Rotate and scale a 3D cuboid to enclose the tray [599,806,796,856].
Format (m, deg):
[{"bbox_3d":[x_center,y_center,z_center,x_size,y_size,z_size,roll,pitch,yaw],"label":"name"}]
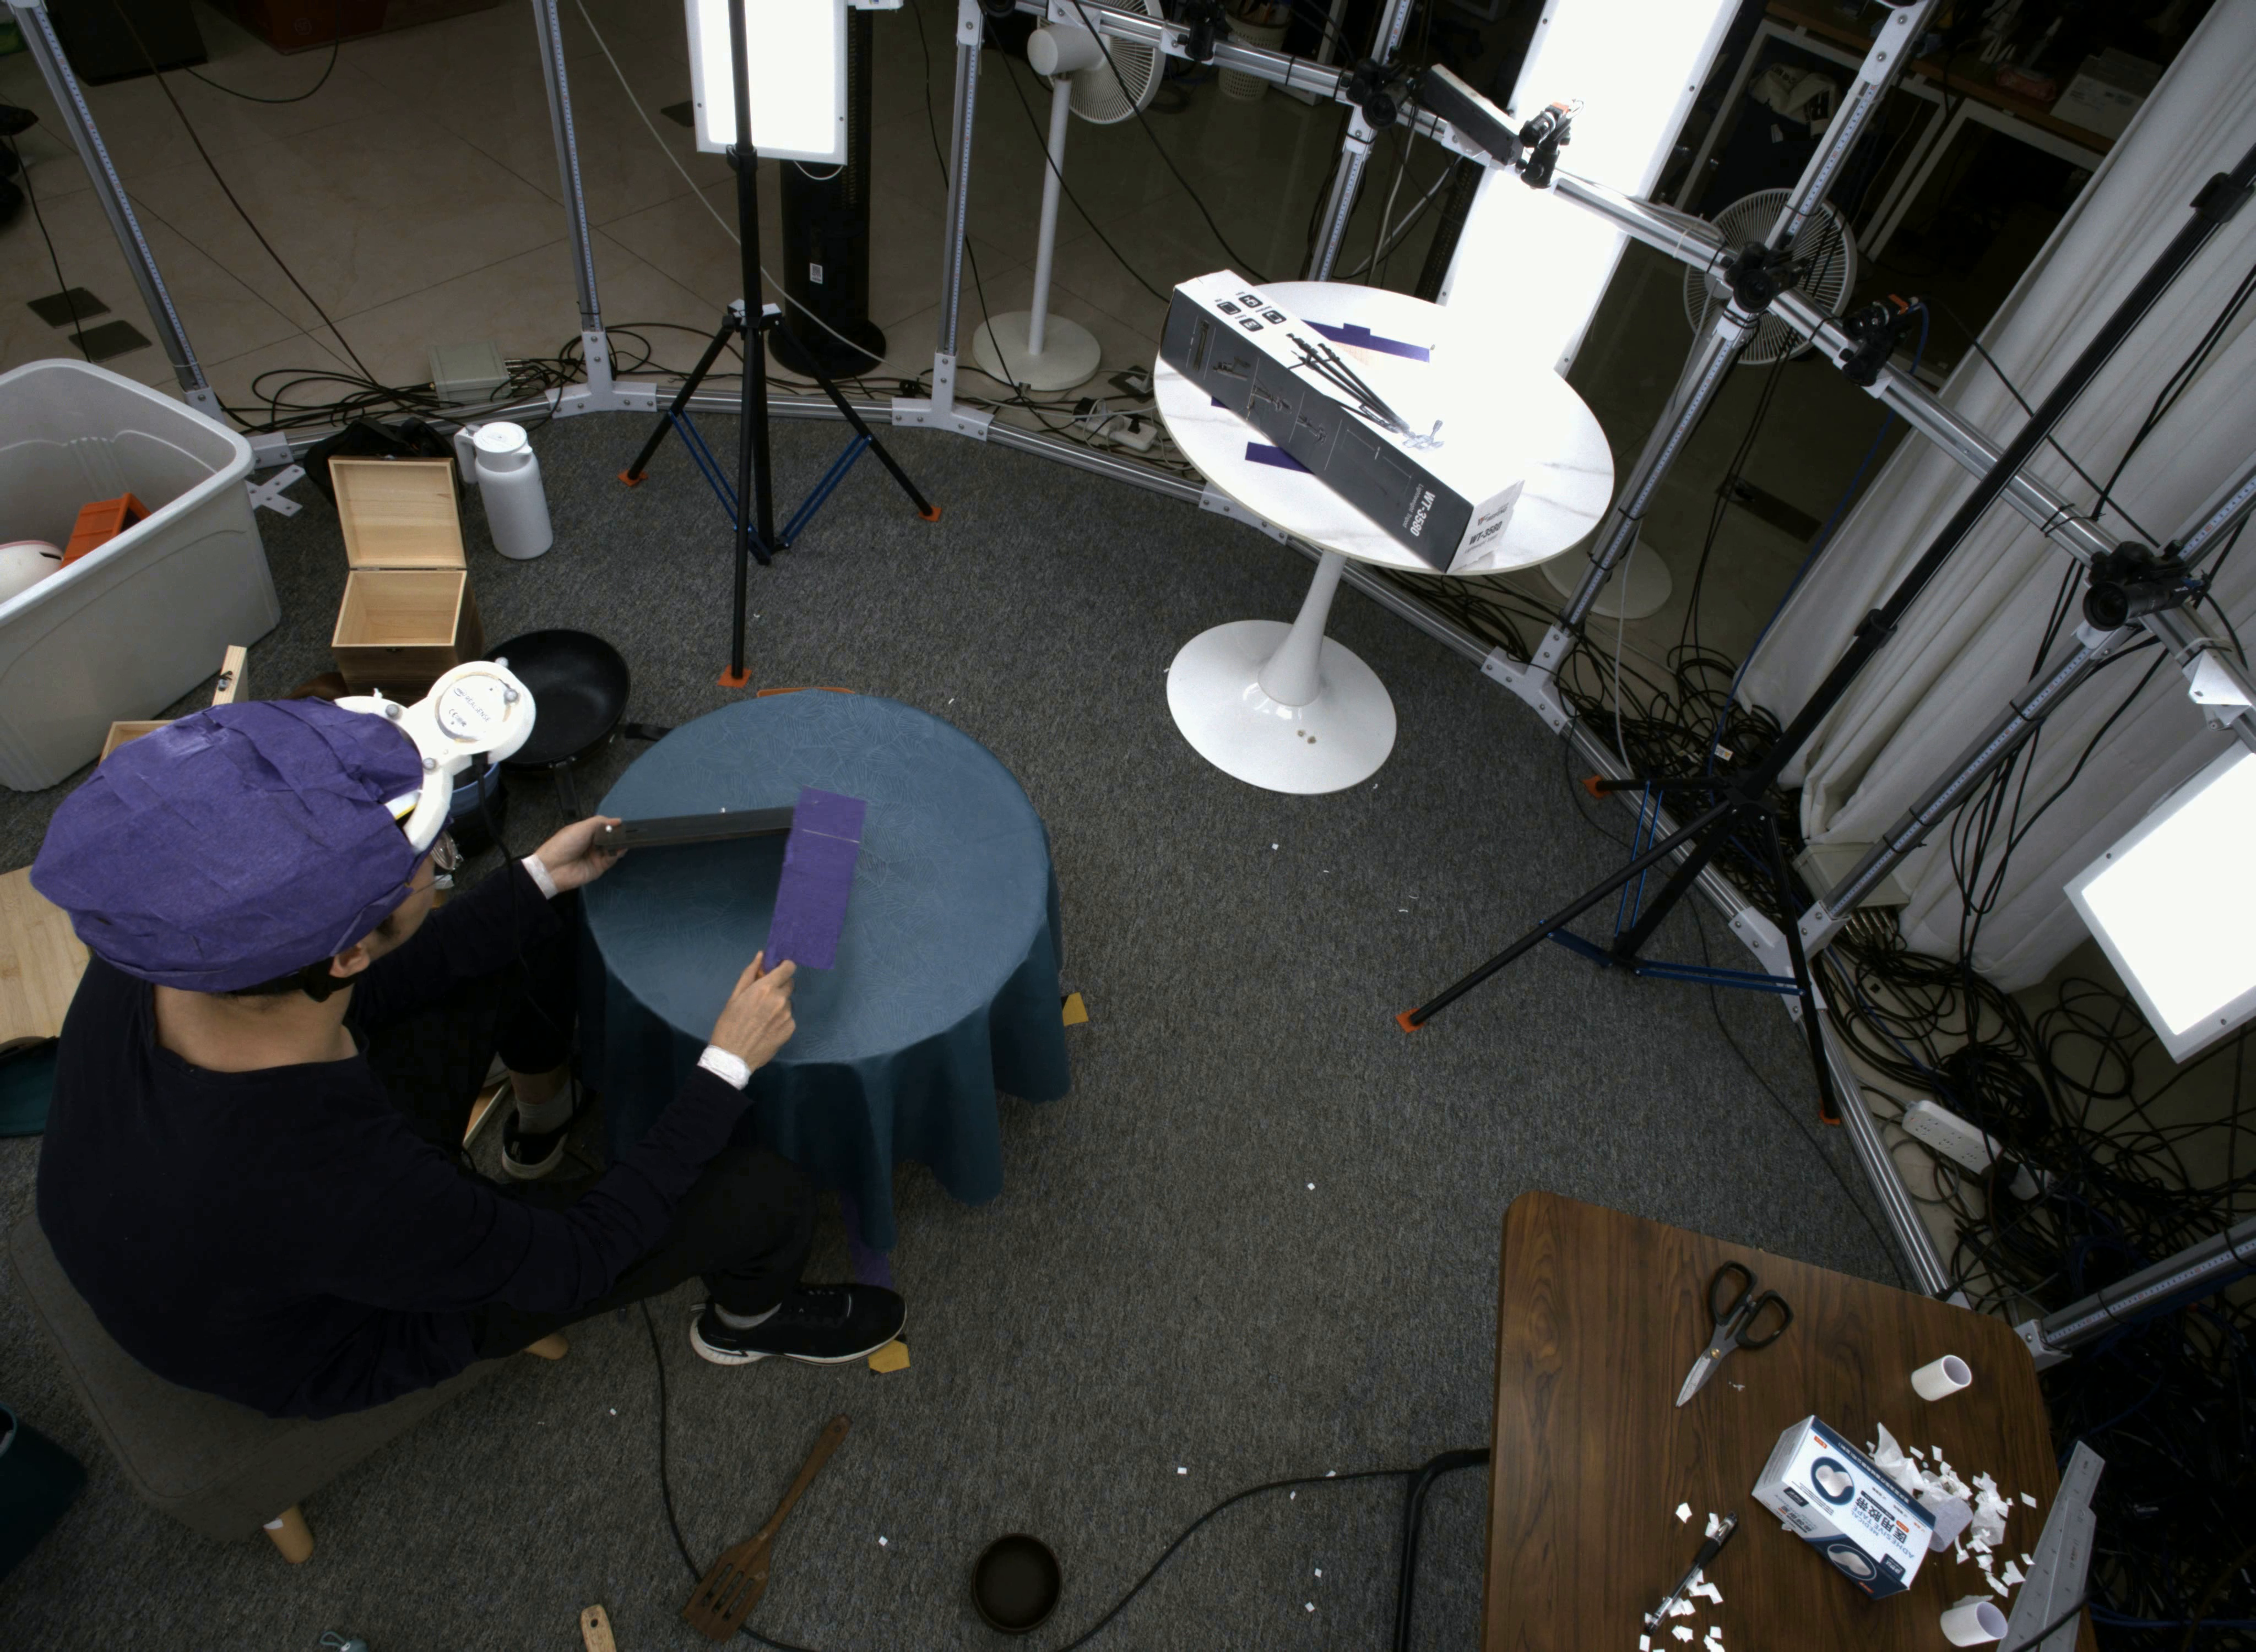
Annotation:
[{"bbox_3d":[-0.512,0.001,1.632,0.307,0.165,0.019,-6,101,-21],"label":"tray"}]

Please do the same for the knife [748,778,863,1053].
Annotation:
[{"bbox_3d":[-0.371,0.107,1.514,0.106,0.031,0.317,16,83,-40],"label":"knife"}]
